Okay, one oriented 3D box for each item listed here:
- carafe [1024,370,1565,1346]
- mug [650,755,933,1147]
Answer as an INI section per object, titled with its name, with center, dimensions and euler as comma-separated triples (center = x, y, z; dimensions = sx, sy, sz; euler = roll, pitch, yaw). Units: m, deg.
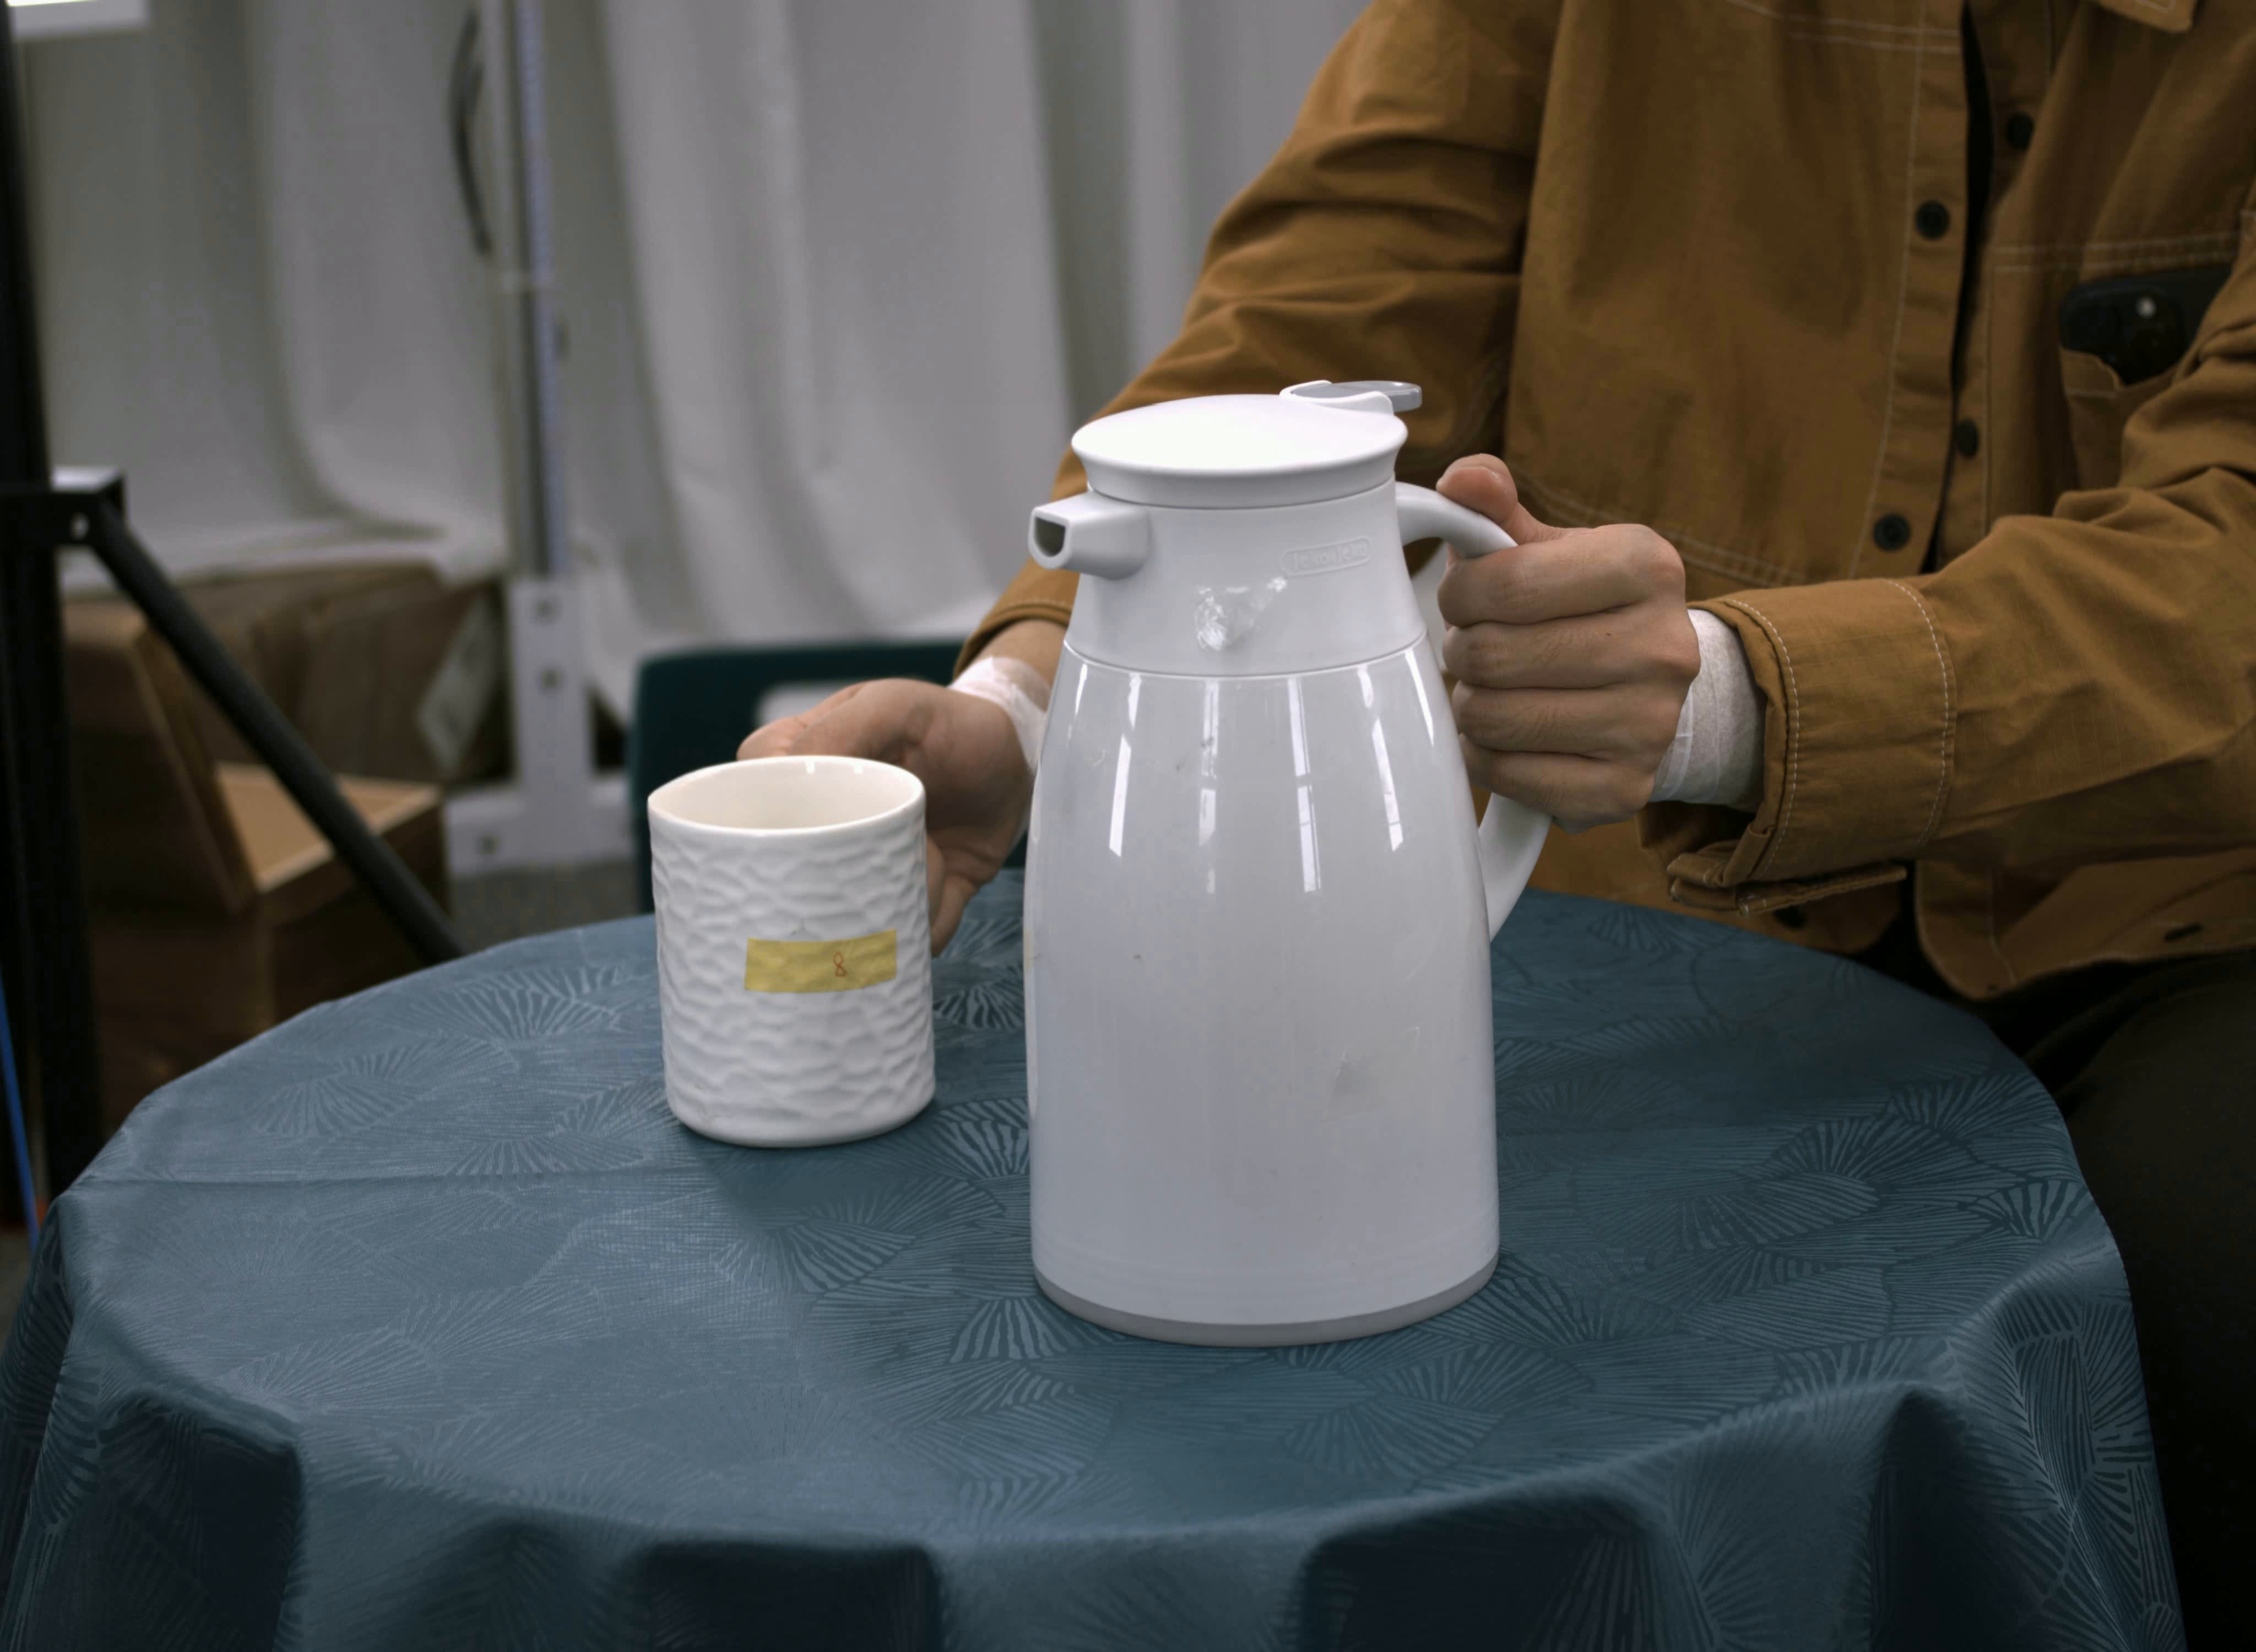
[carafe]
center = 0.050, 0.001, 1.471
dimensions = 0.164, 0.248, 0.135
euler = -11, 17, -31
[mug]
center = -0.101, 0.034, 1.647
dimensions = 0.085, 0.102, 0.118
euler = 0, 15, 5
